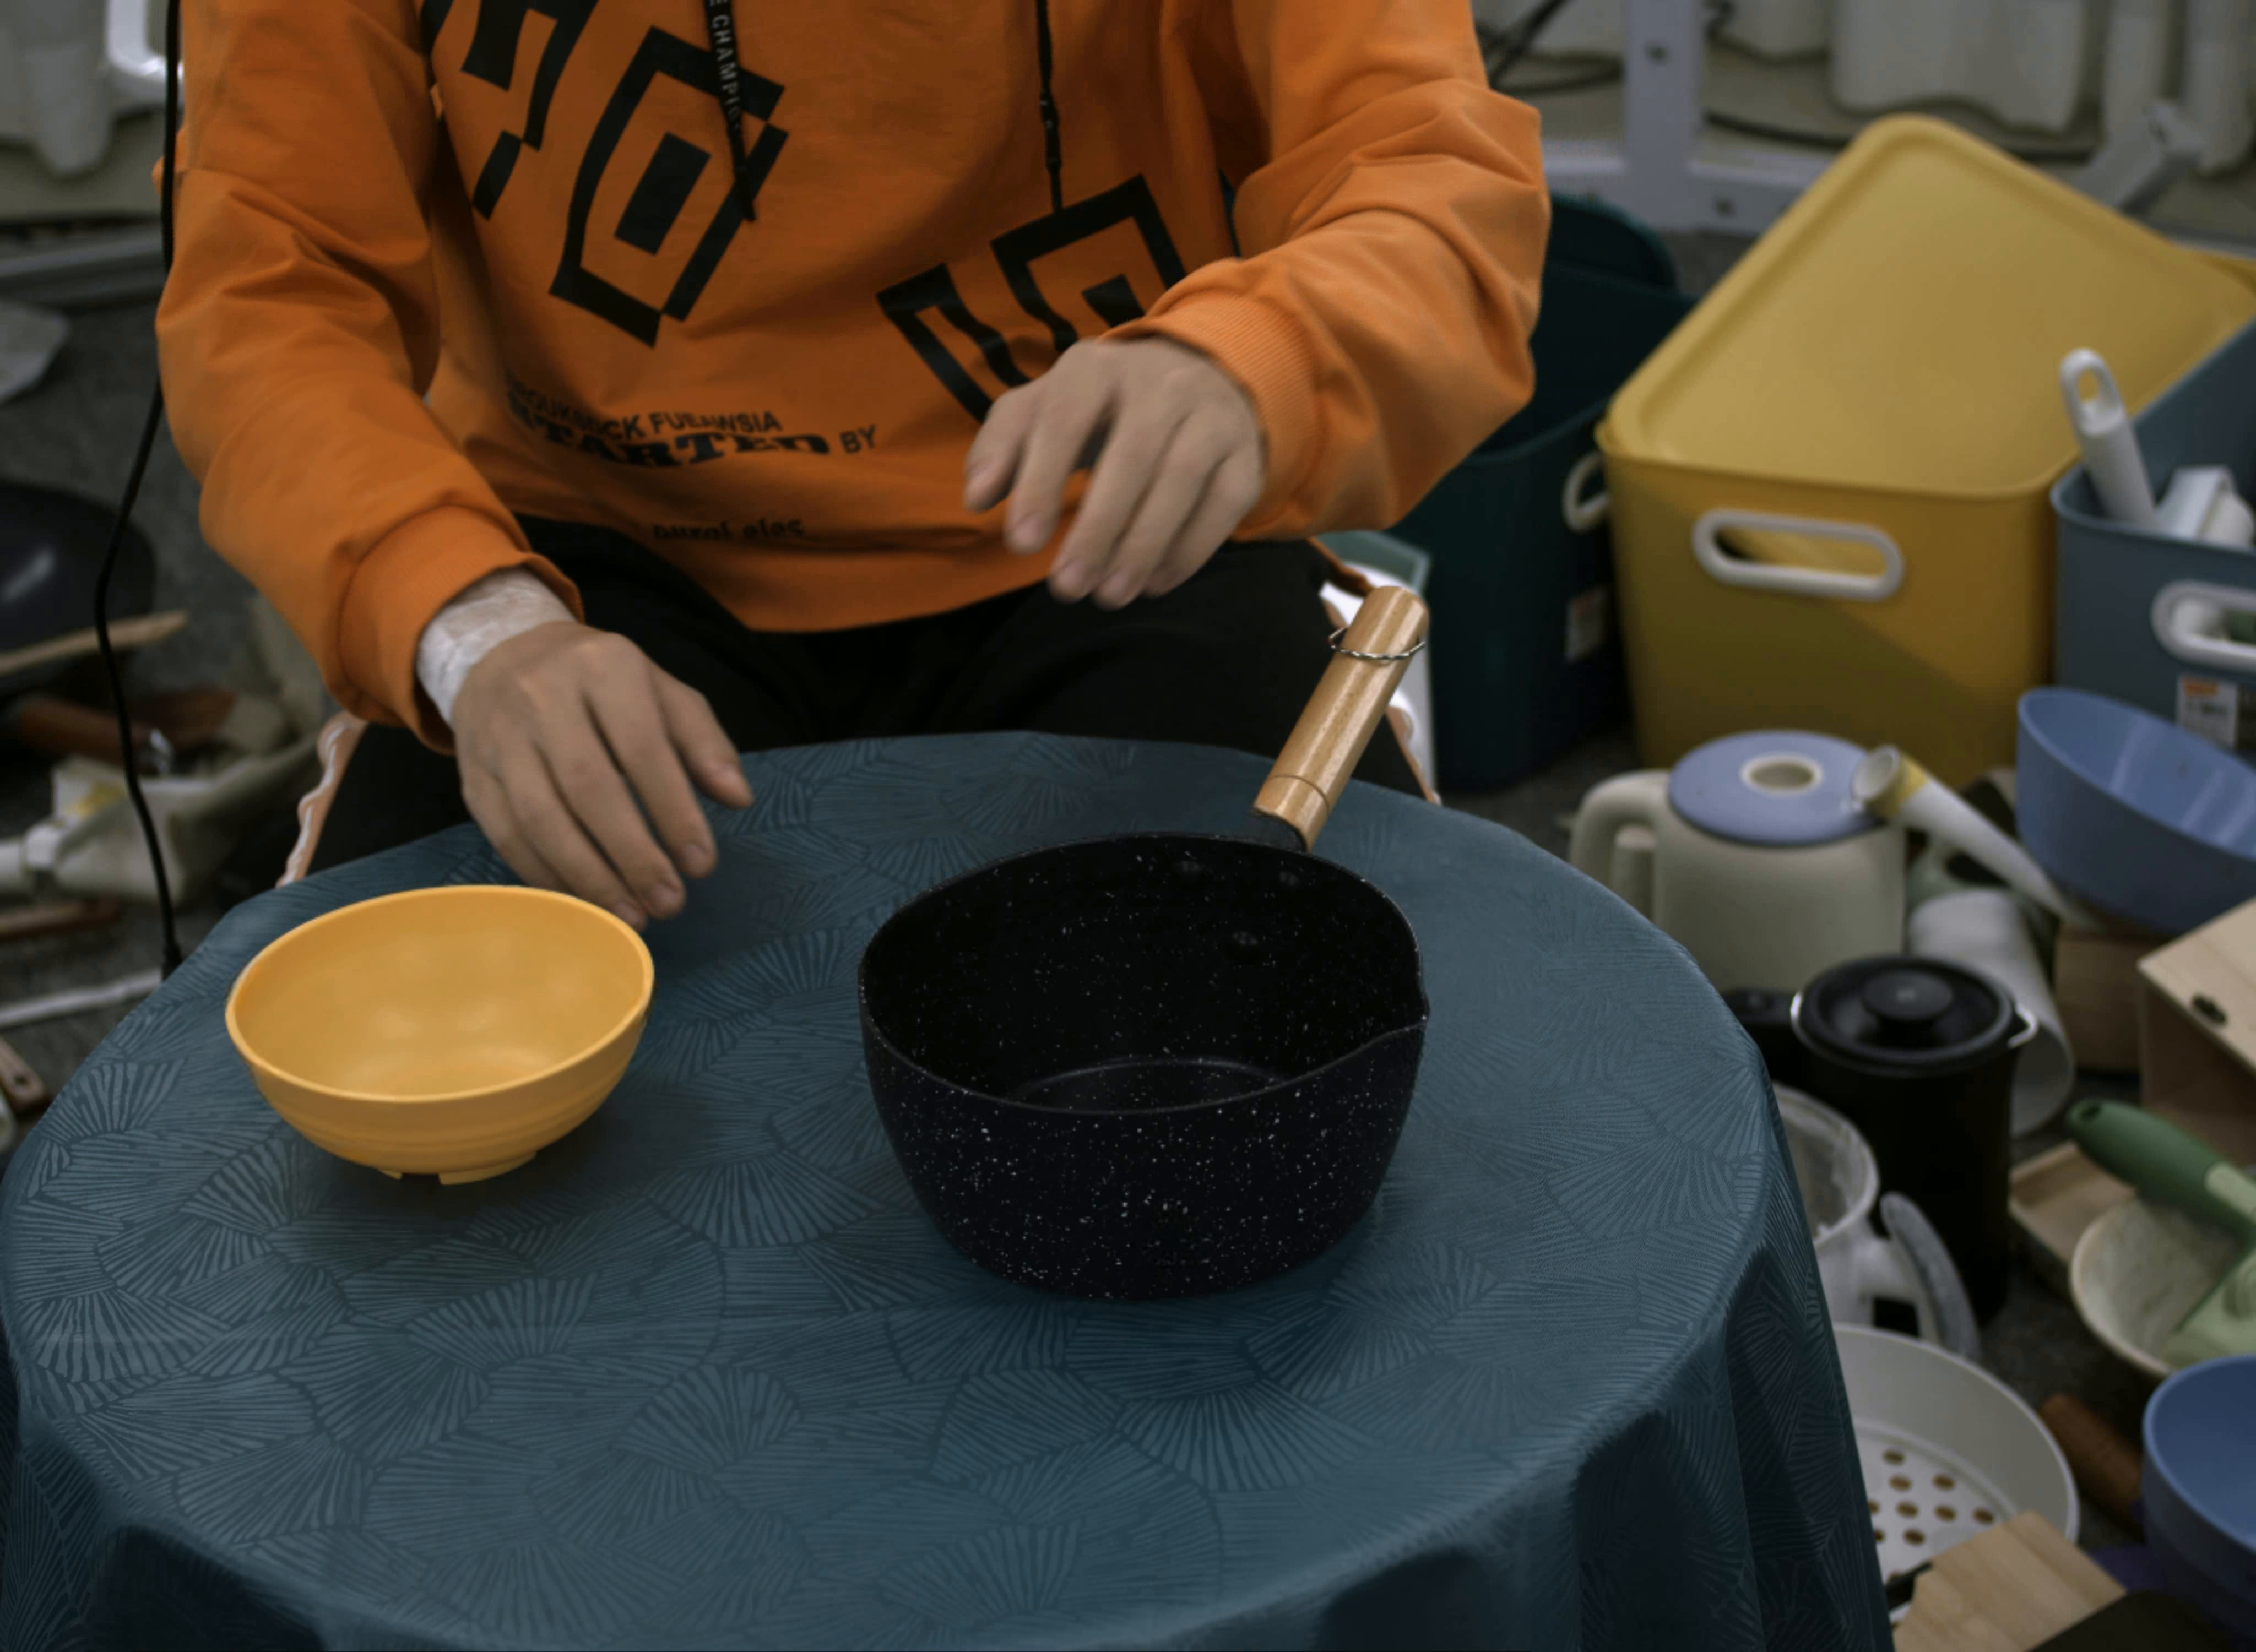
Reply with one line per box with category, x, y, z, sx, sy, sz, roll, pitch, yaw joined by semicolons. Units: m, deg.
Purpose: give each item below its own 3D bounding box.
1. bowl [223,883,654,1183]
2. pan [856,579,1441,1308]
bowl;-0.231;0.080;1.902;0.144;0.059;0.147;-1;28;1
pan;0.035;0.036;1.908;0.206;0.107;0.349;7;30;21
